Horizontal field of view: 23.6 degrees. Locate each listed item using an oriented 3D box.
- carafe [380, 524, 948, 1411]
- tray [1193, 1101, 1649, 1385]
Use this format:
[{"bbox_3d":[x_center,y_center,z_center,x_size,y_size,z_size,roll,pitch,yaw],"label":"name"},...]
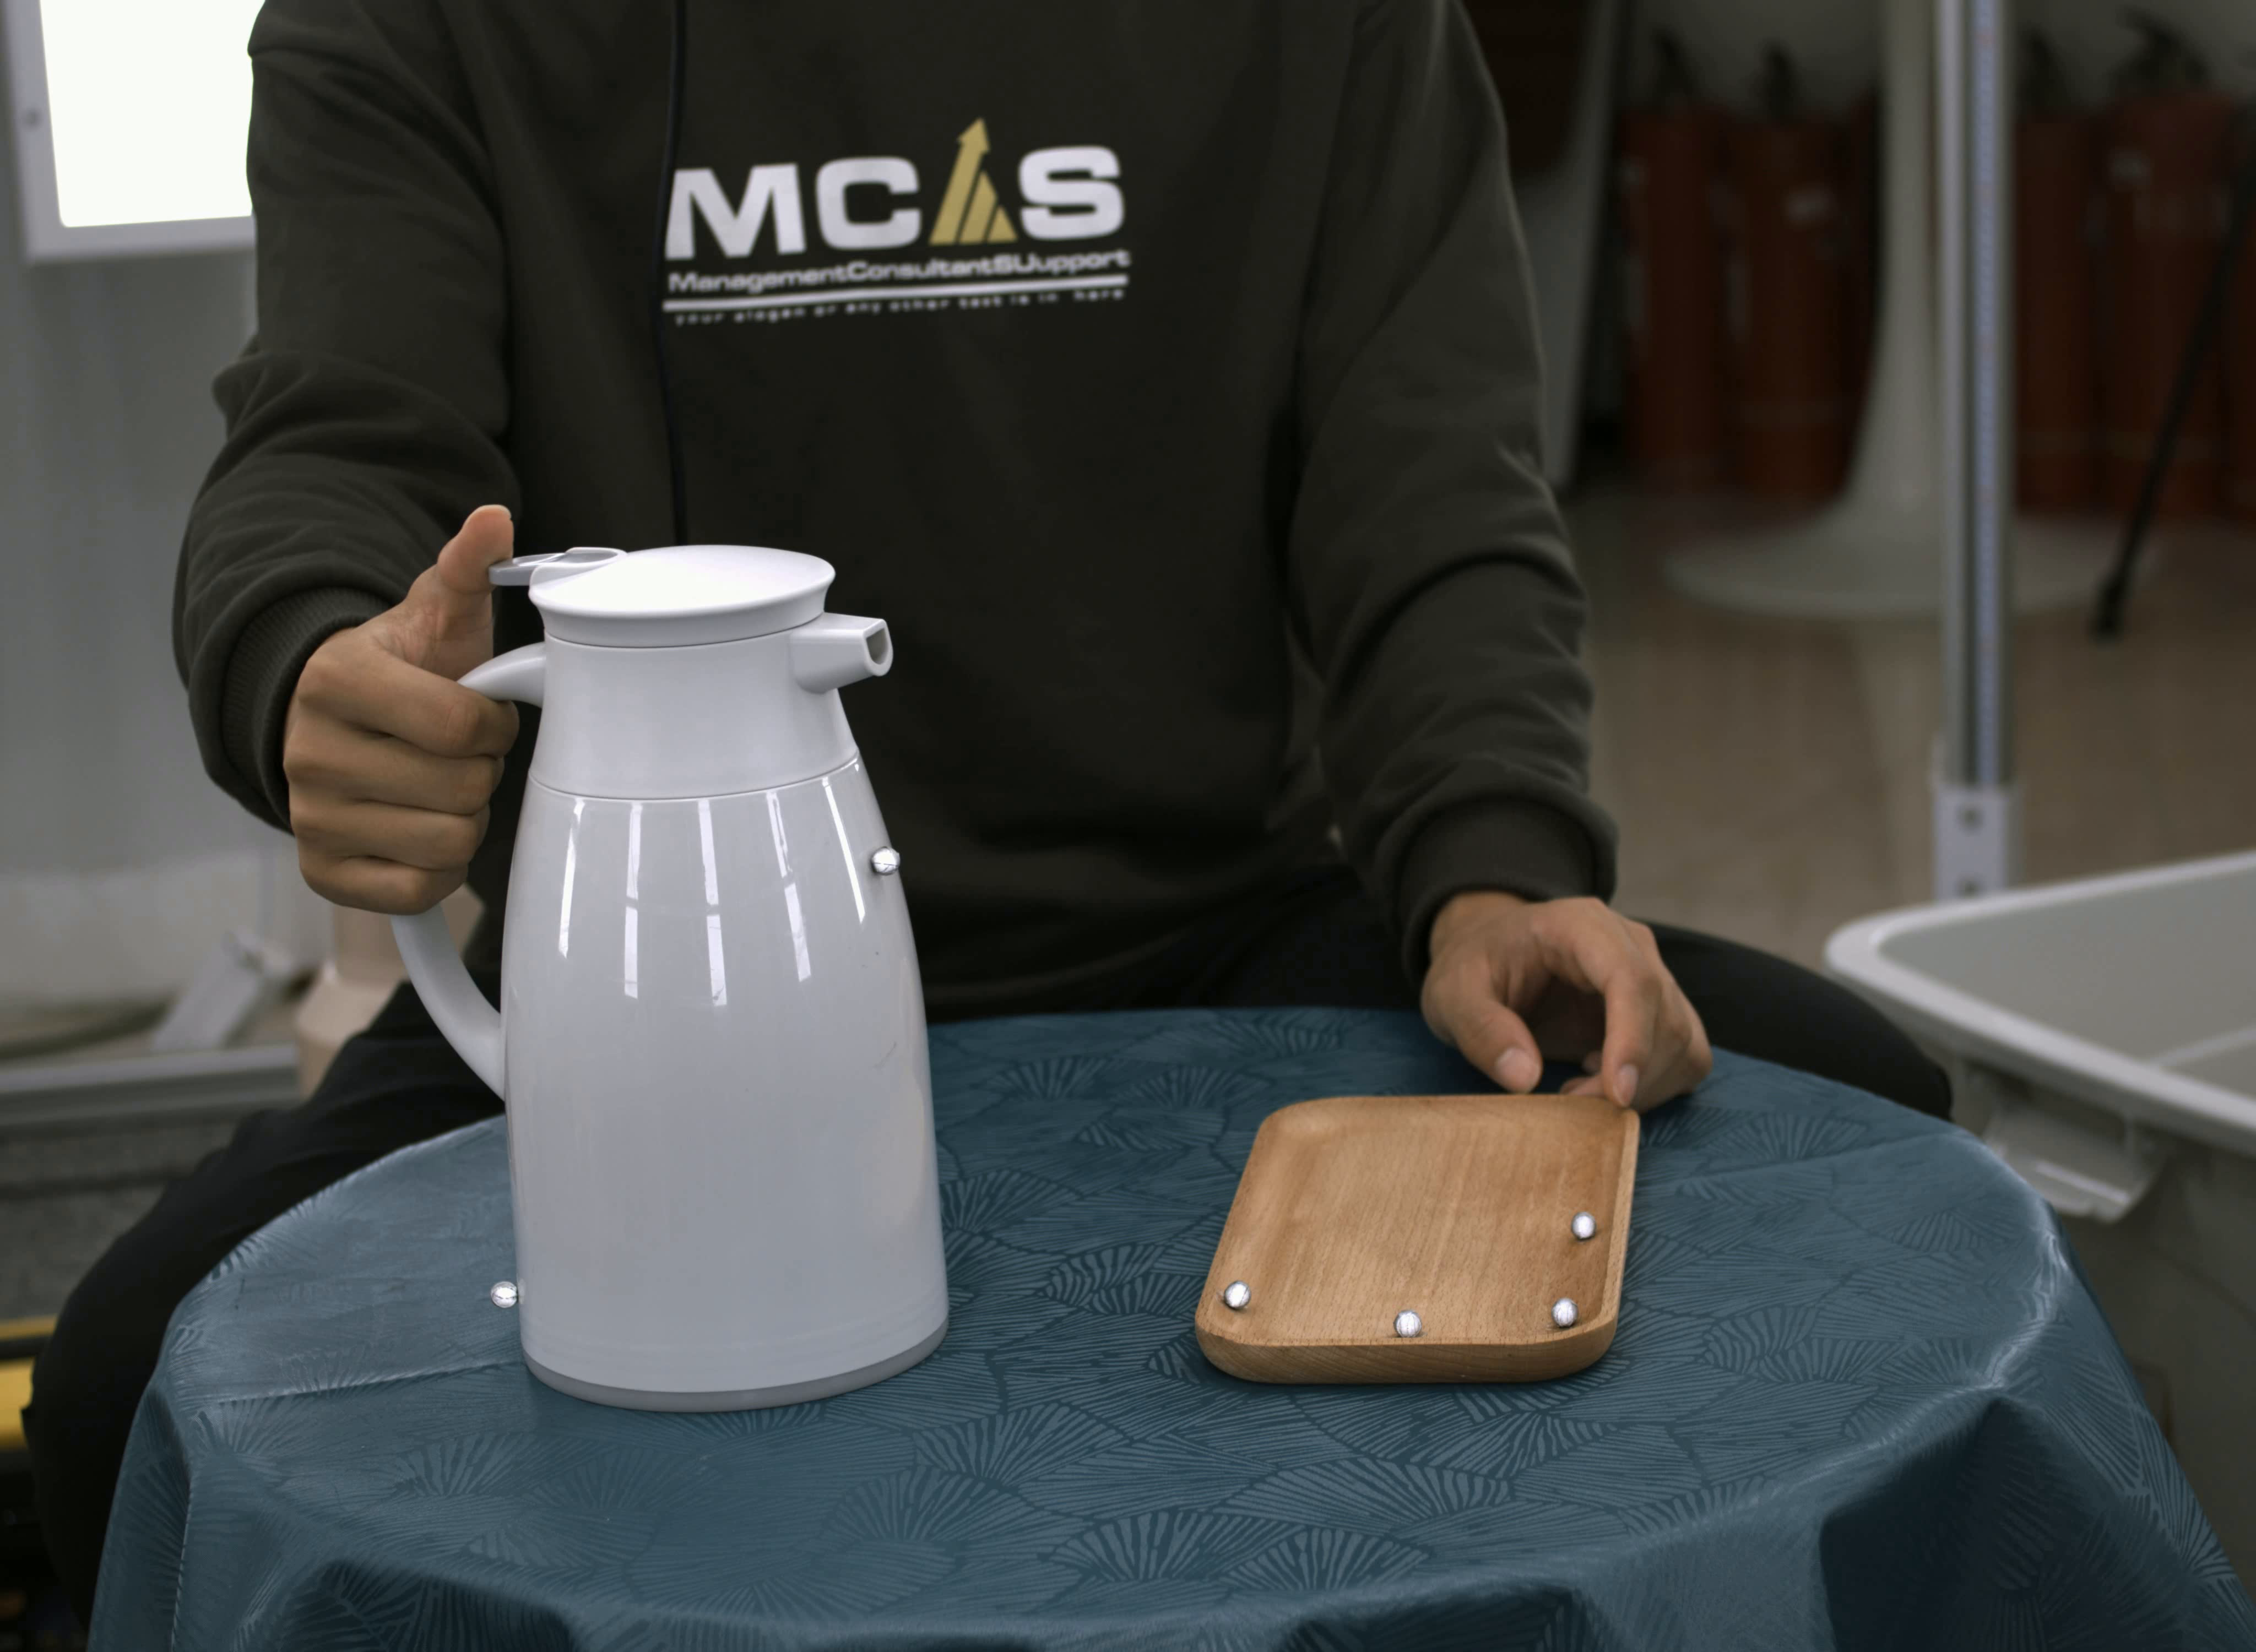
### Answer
[{"bbox_3d":[-0.144,0.036,1.630,0.167,0.251,0.131,0,14,18],"label":"carafe"},{"bbox_3d":[0.096,0.128,1.688,0.129,0.023,0.249,1,13,9],"label":"tray"}]
